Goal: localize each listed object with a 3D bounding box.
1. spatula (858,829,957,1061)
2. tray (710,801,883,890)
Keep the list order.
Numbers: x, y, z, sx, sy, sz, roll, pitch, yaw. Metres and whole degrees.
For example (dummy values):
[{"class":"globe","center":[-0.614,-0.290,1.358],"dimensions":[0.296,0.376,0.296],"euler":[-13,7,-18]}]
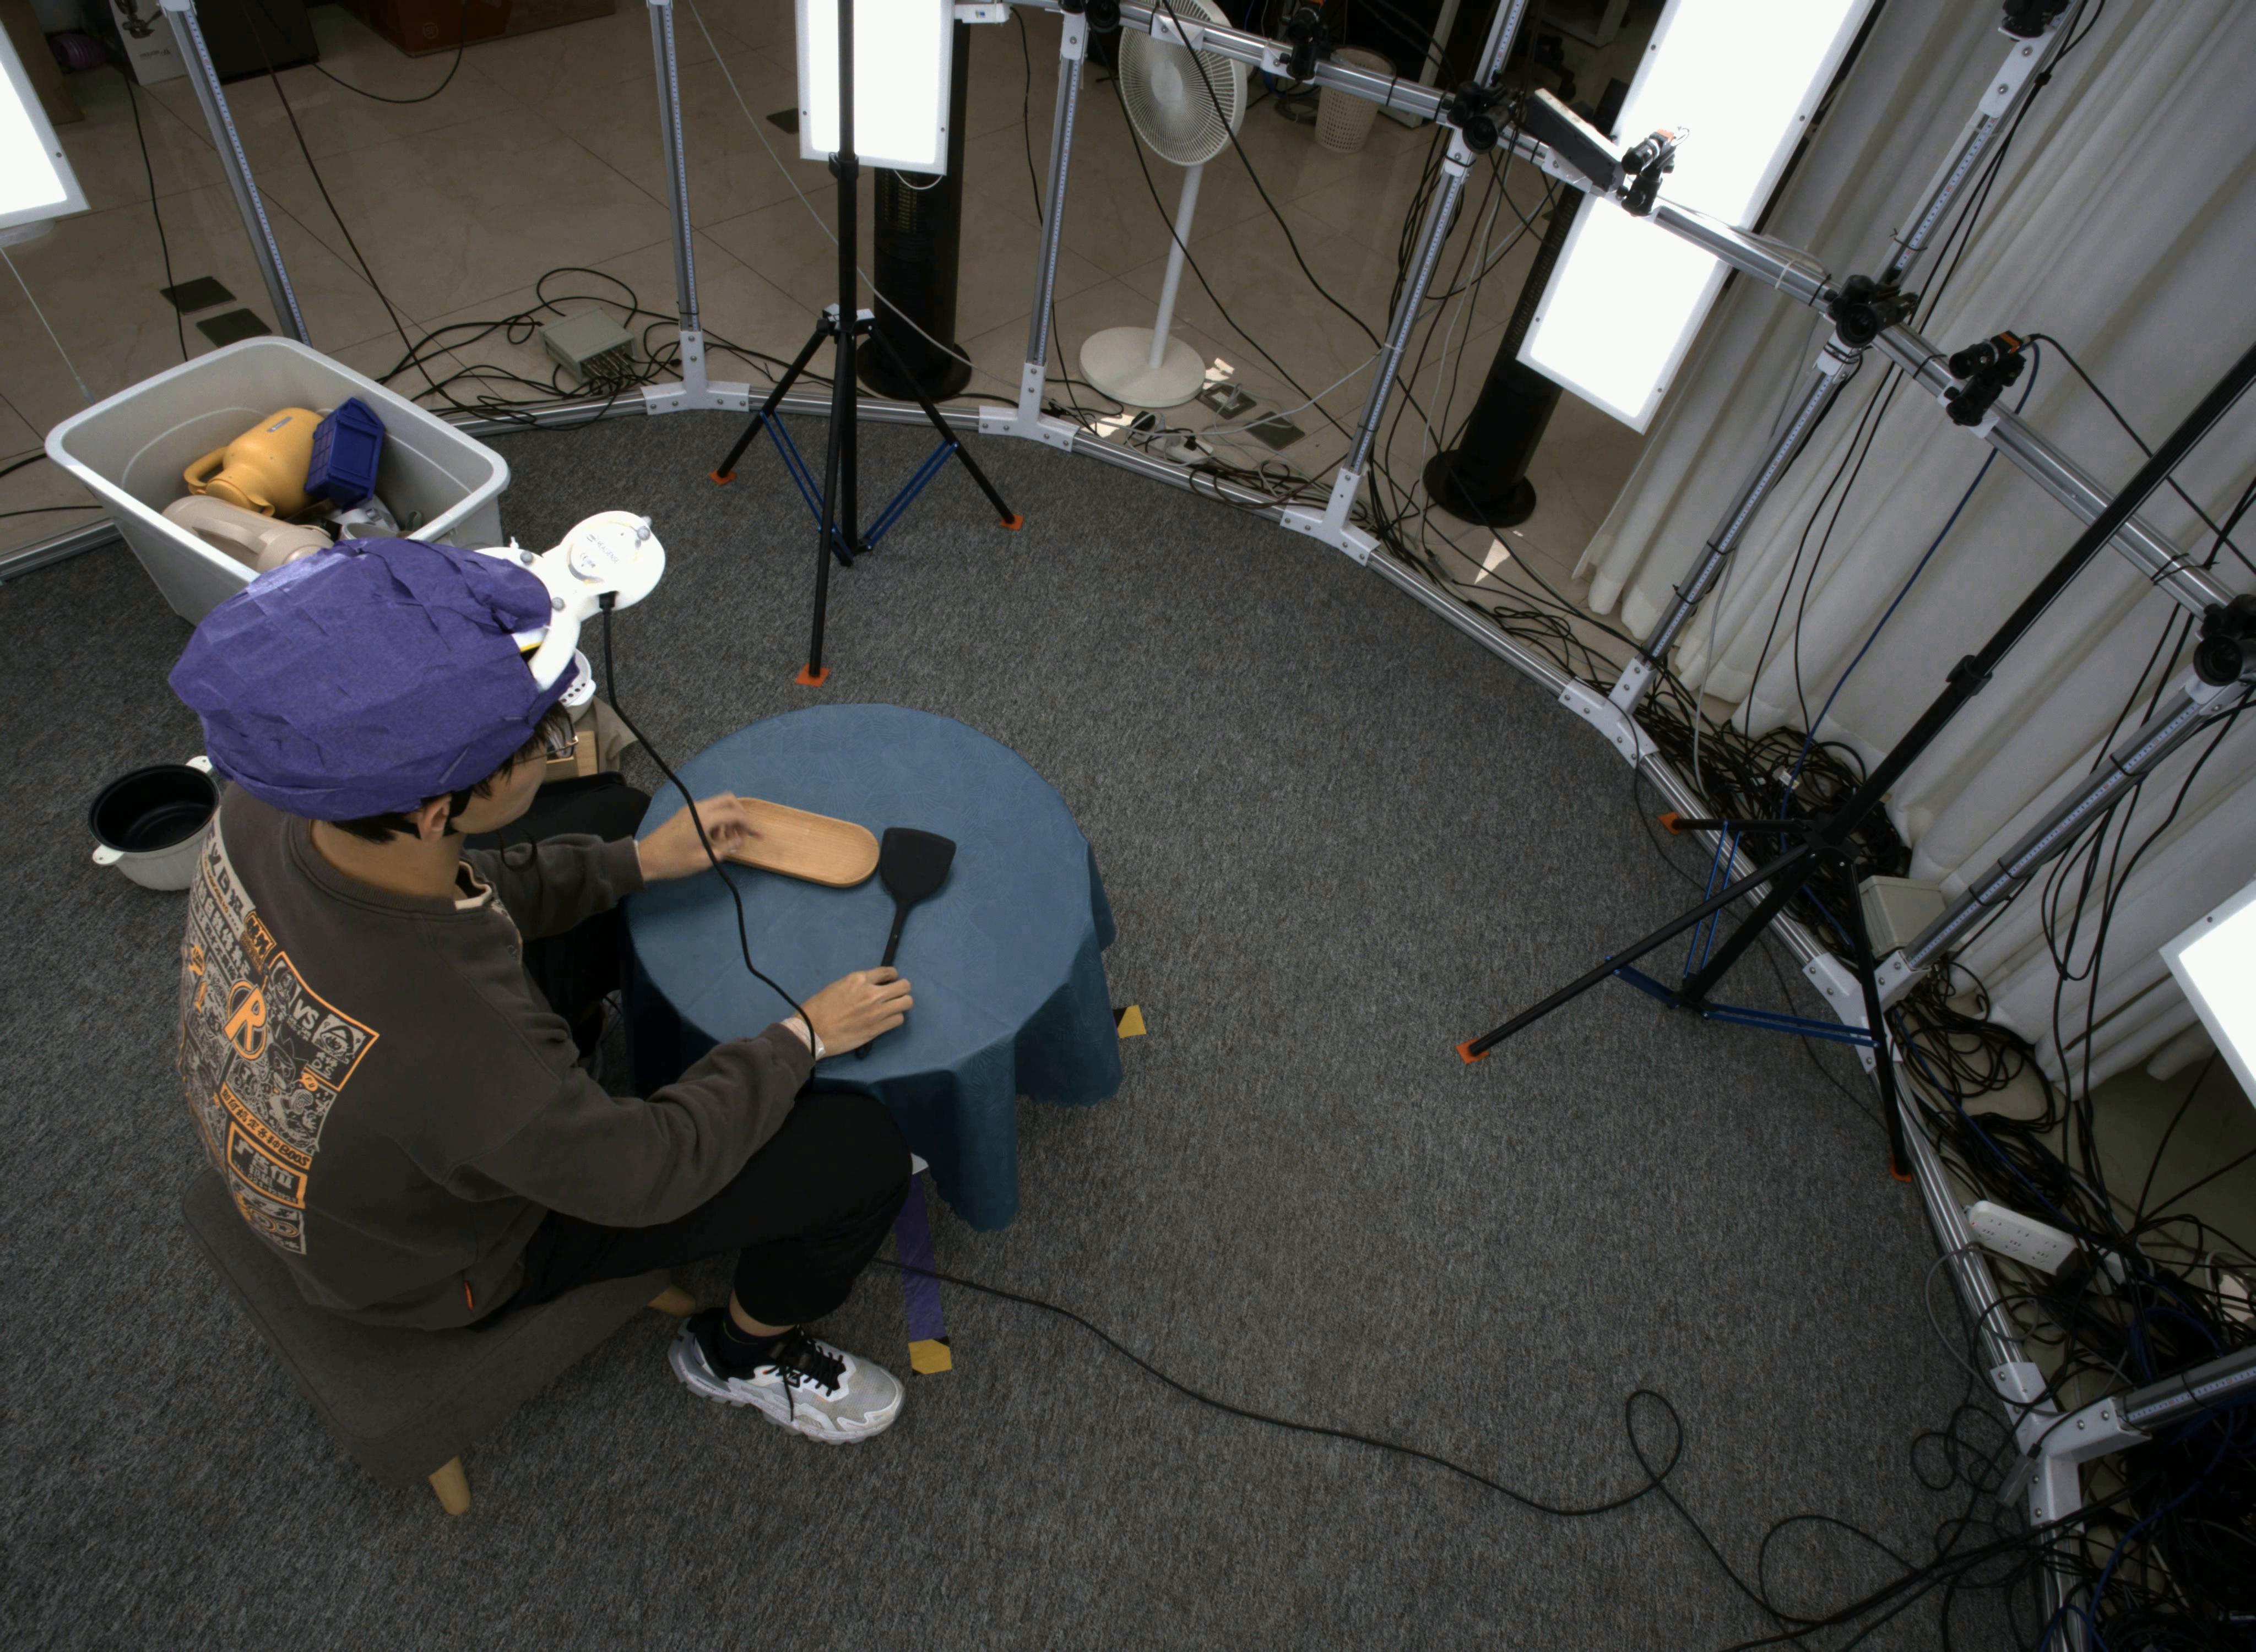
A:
[{"class":"spatula","center":[-0.295,0.144,1.641],"dimensions":[0.099,0.041,0.321],"euler":[12,52,-4]},{"class":"tray","center":[-0.436,0.024,1.708],"dimensions":[0.230,0.021,0.100],"euler":[15,53,-4]}]
